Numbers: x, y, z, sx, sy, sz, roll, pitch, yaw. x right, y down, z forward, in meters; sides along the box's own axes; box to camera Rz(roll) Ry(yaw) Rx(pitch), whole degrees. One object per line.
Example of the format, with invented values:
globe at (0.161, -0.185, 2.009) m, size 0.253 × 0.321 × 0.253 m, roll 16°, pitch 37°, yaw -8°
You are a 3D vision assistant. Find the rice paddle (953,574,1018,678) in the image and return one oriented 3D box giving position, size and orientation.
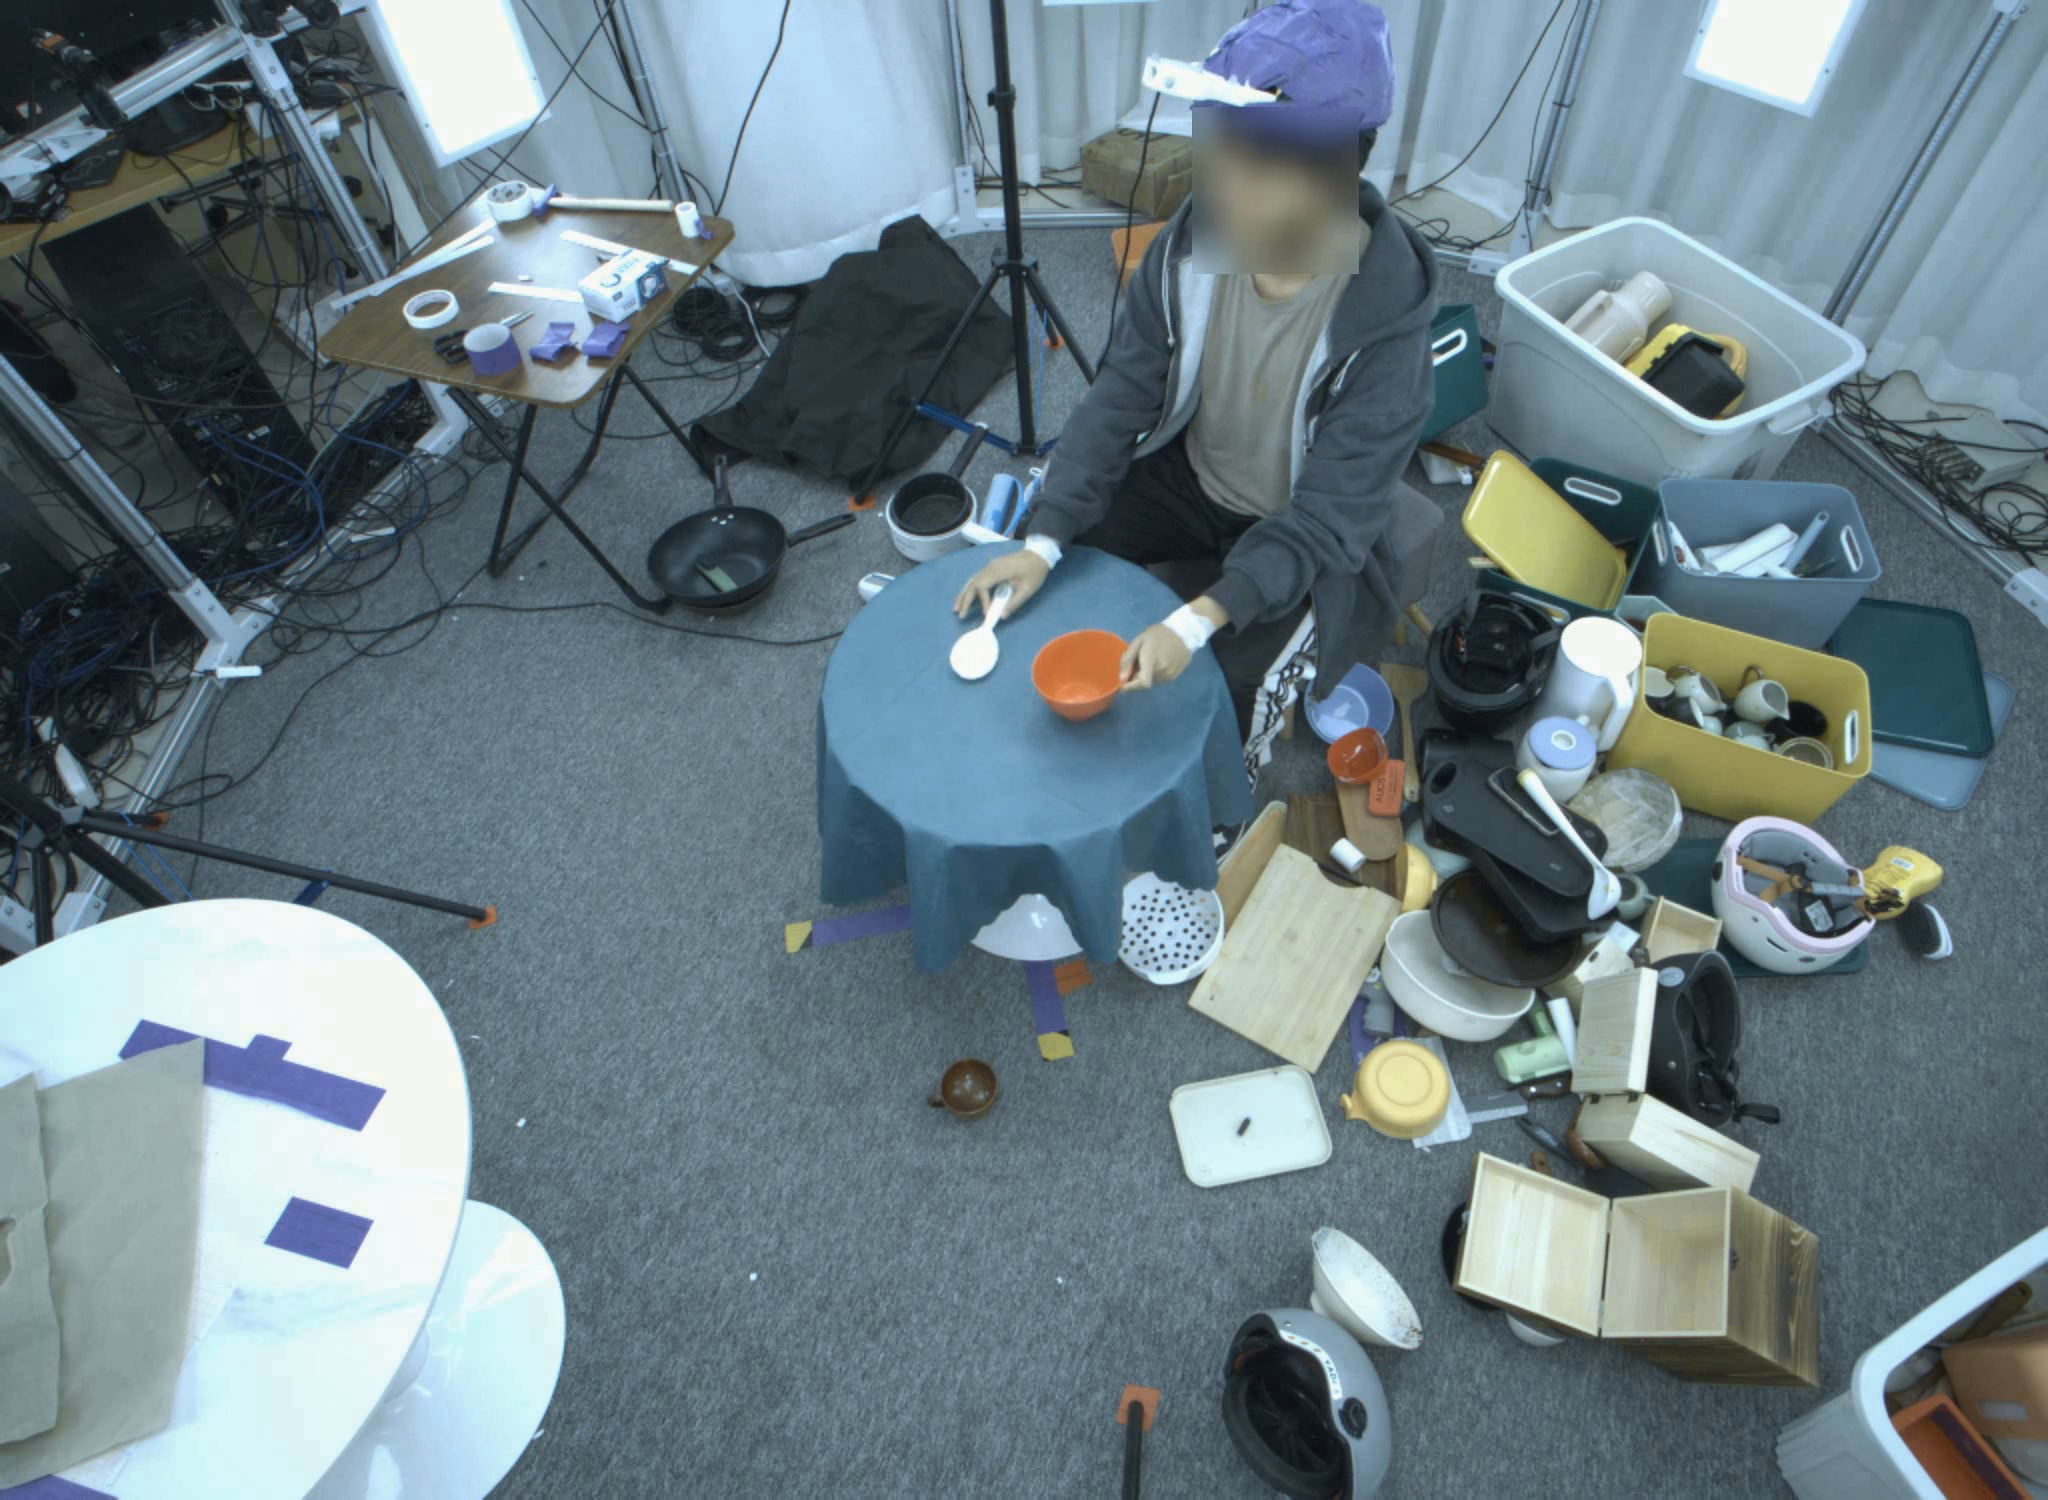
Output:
rice paddle at (-0.054, -0.192, 1.909) m, size 0.068 × 0.029 × 0.205 m, roll 18°, pitch 58°, yaw 5°

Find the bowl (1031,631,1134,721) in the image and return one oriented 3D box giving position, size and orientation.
bowl at (0.086, -0.094, 1.792) m, size 0.148 × 0.106 × 0.146 m, roll -2°, pitch 54°, yaw 3°
